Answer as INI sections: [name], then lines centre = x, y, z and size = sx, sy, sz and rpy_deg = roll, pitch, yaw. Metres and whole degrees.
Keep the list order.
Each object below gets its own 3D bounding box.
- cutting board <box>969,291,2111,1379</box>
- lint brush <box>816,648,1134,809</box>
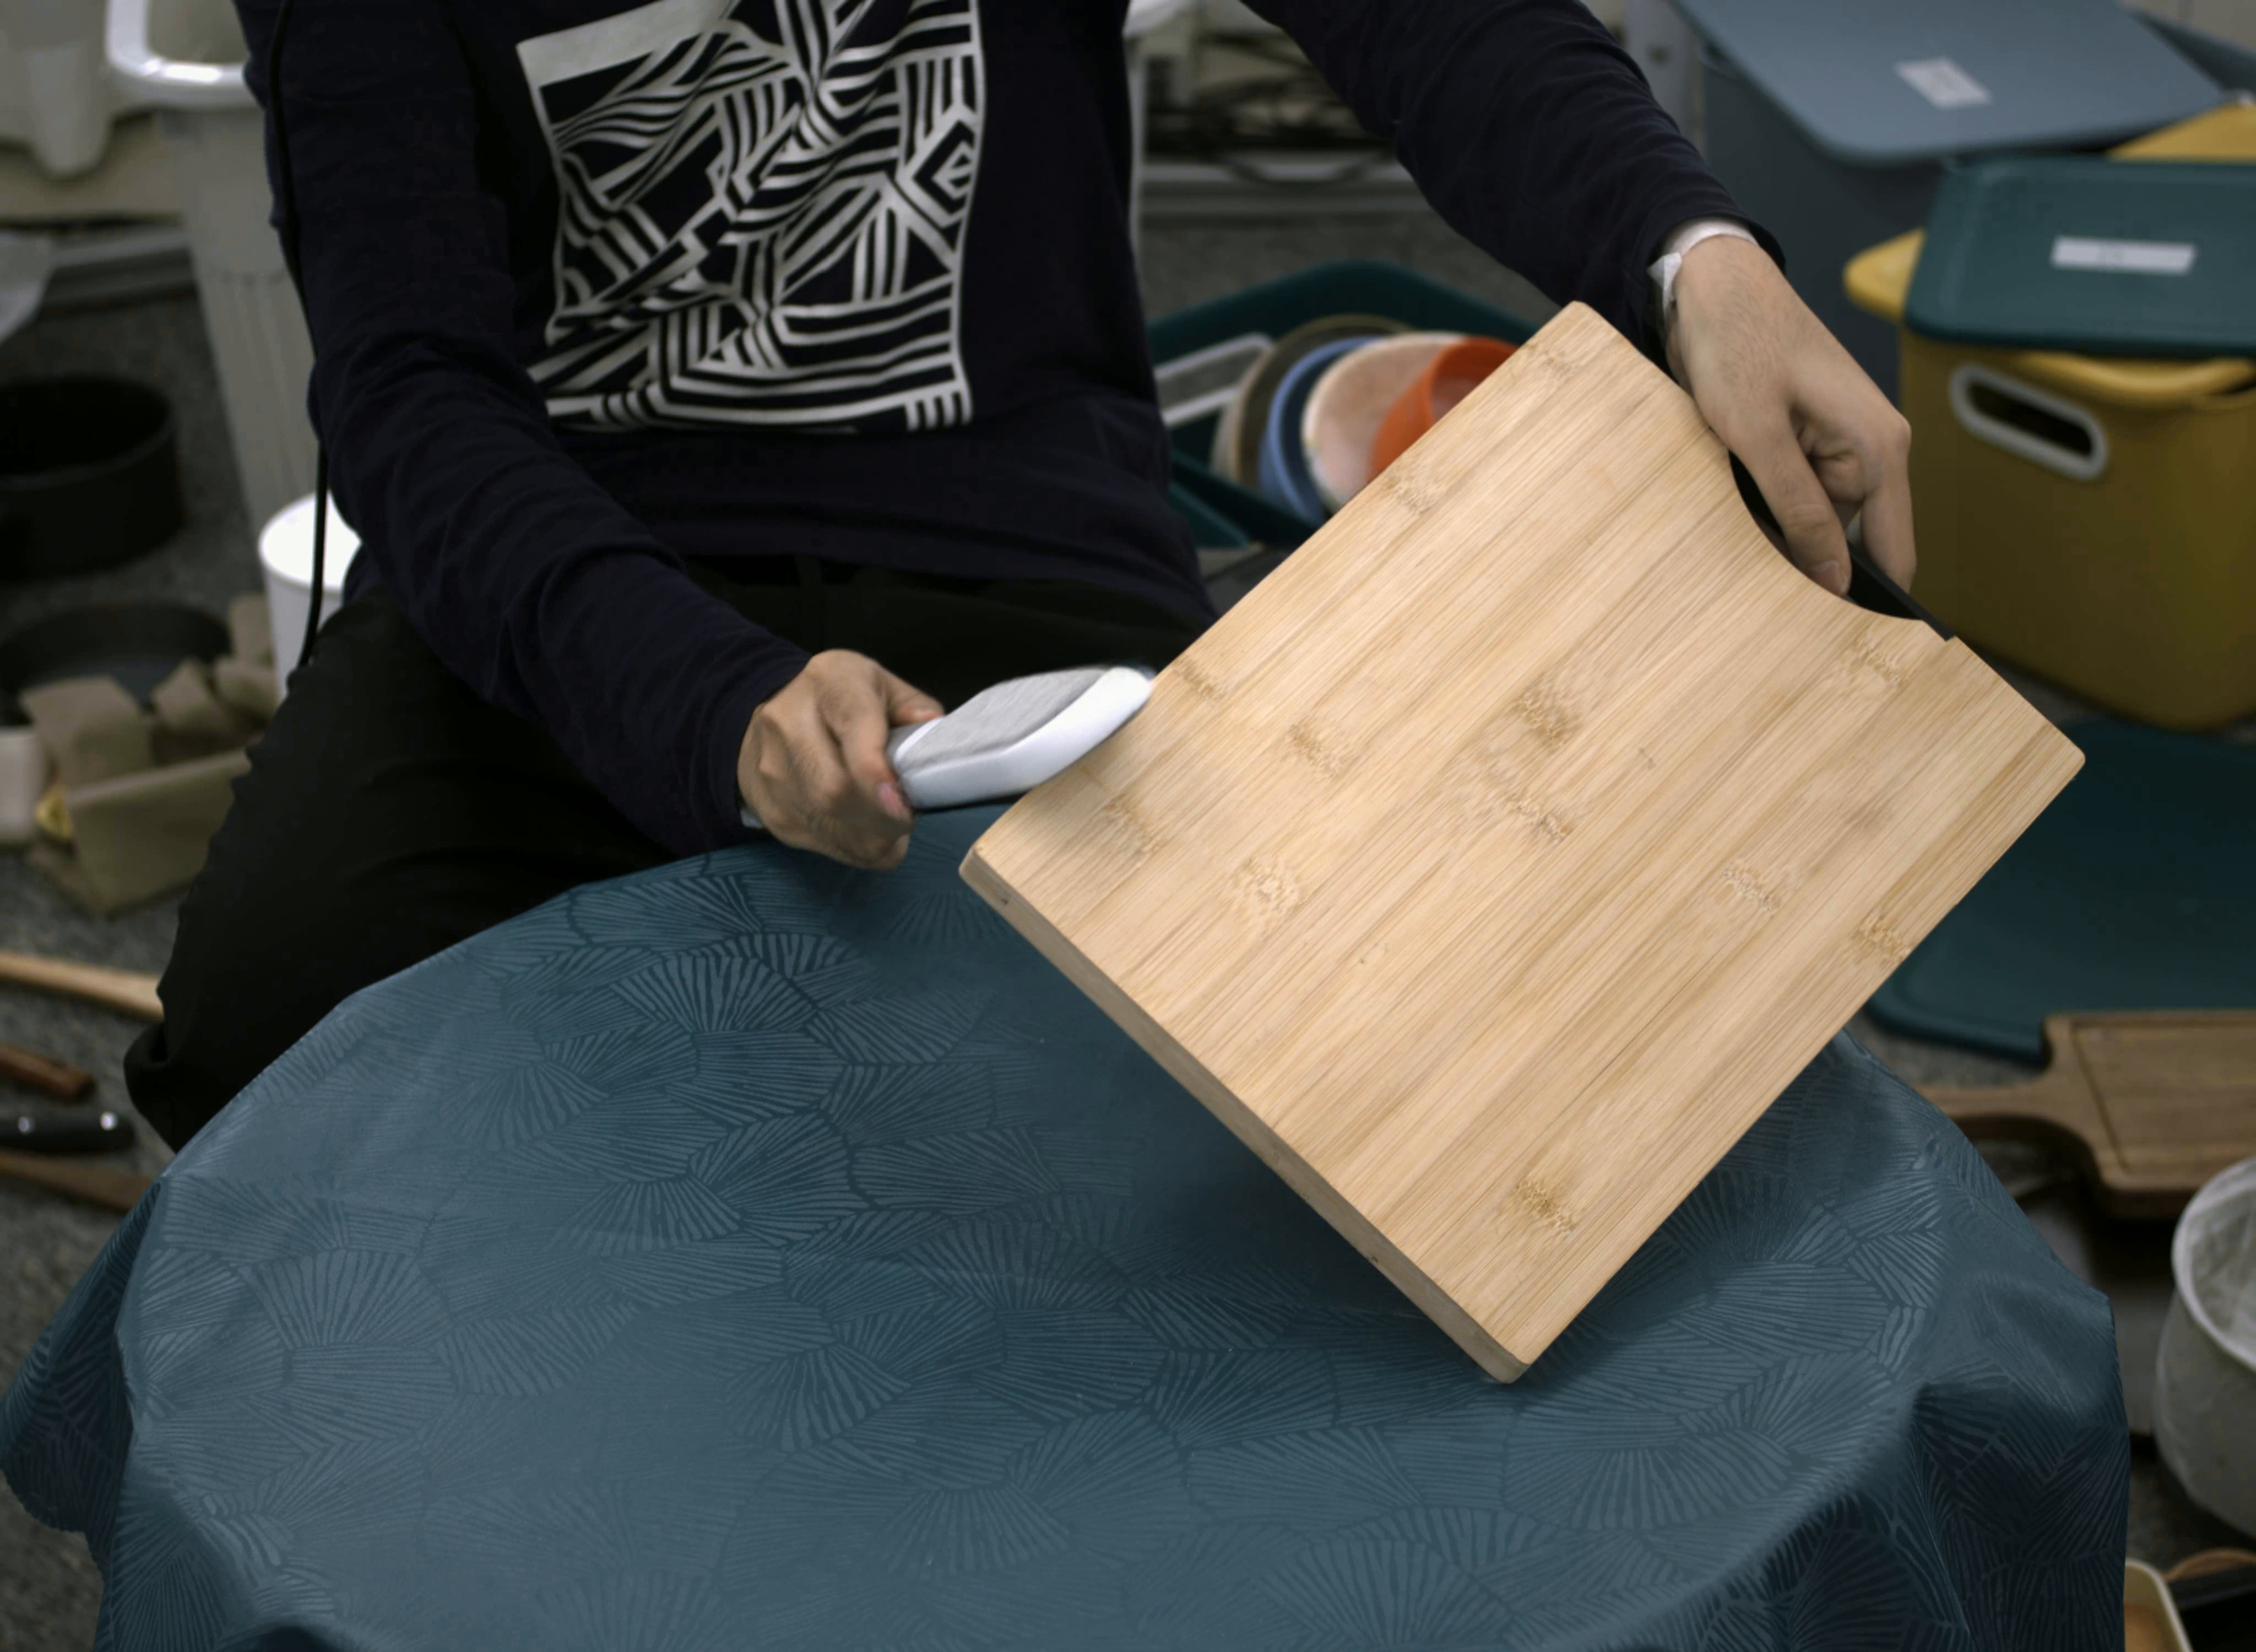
[cutting board]
centre = 0.141, -0.007, 1.860
size = 0.251, 0.023, 0.354
rpy_deg = 42, 55, 7
[lint brush]
centre = -0.058, -0.029, 1.900
size = 0.060, 0.021, 0.307
rpy_deg = -43, 10, -14
